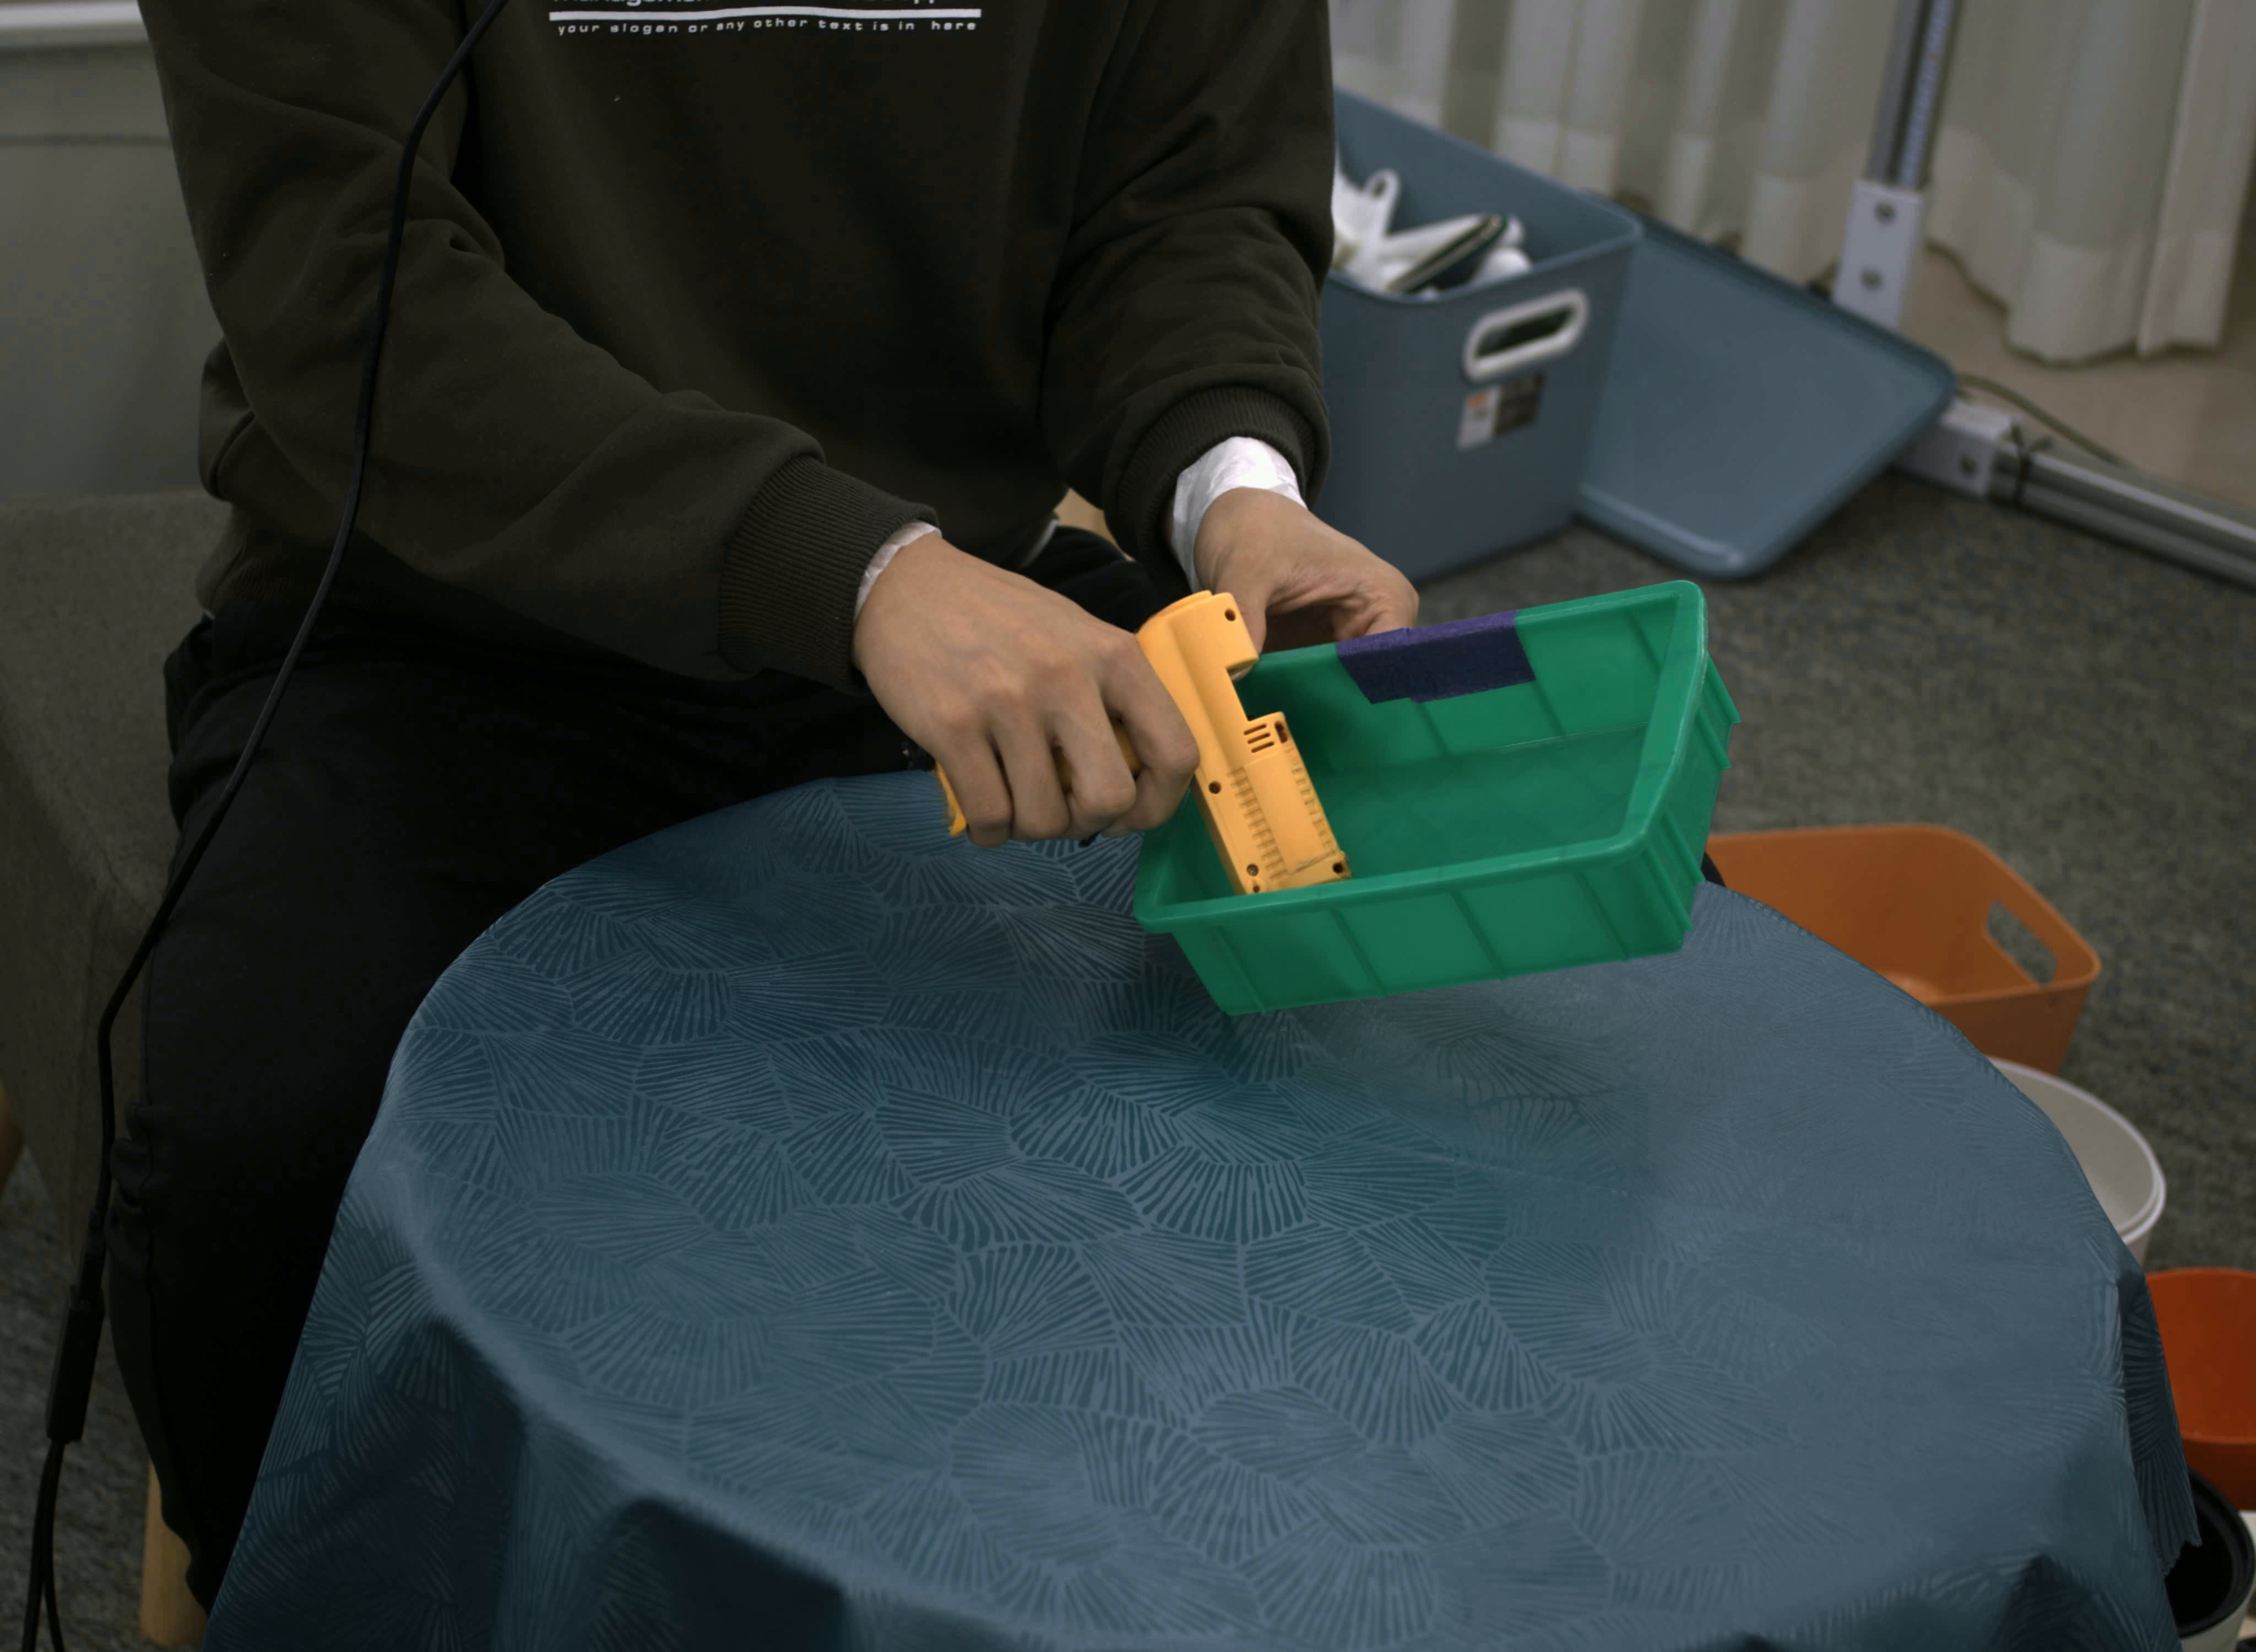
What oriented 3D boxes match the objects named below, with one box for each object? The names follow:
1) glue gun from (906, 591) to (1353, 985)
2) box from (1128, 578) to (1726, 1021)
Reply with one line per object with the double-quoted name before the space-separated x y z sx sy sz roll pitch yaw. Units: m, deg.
"glue gun" 0.011 0.007 1.901 0.133 0.152 0.031 -26 -6 -12
"box" 0.112 -0.005 1.909 0.211 0.065 0.139 -12 38 28
